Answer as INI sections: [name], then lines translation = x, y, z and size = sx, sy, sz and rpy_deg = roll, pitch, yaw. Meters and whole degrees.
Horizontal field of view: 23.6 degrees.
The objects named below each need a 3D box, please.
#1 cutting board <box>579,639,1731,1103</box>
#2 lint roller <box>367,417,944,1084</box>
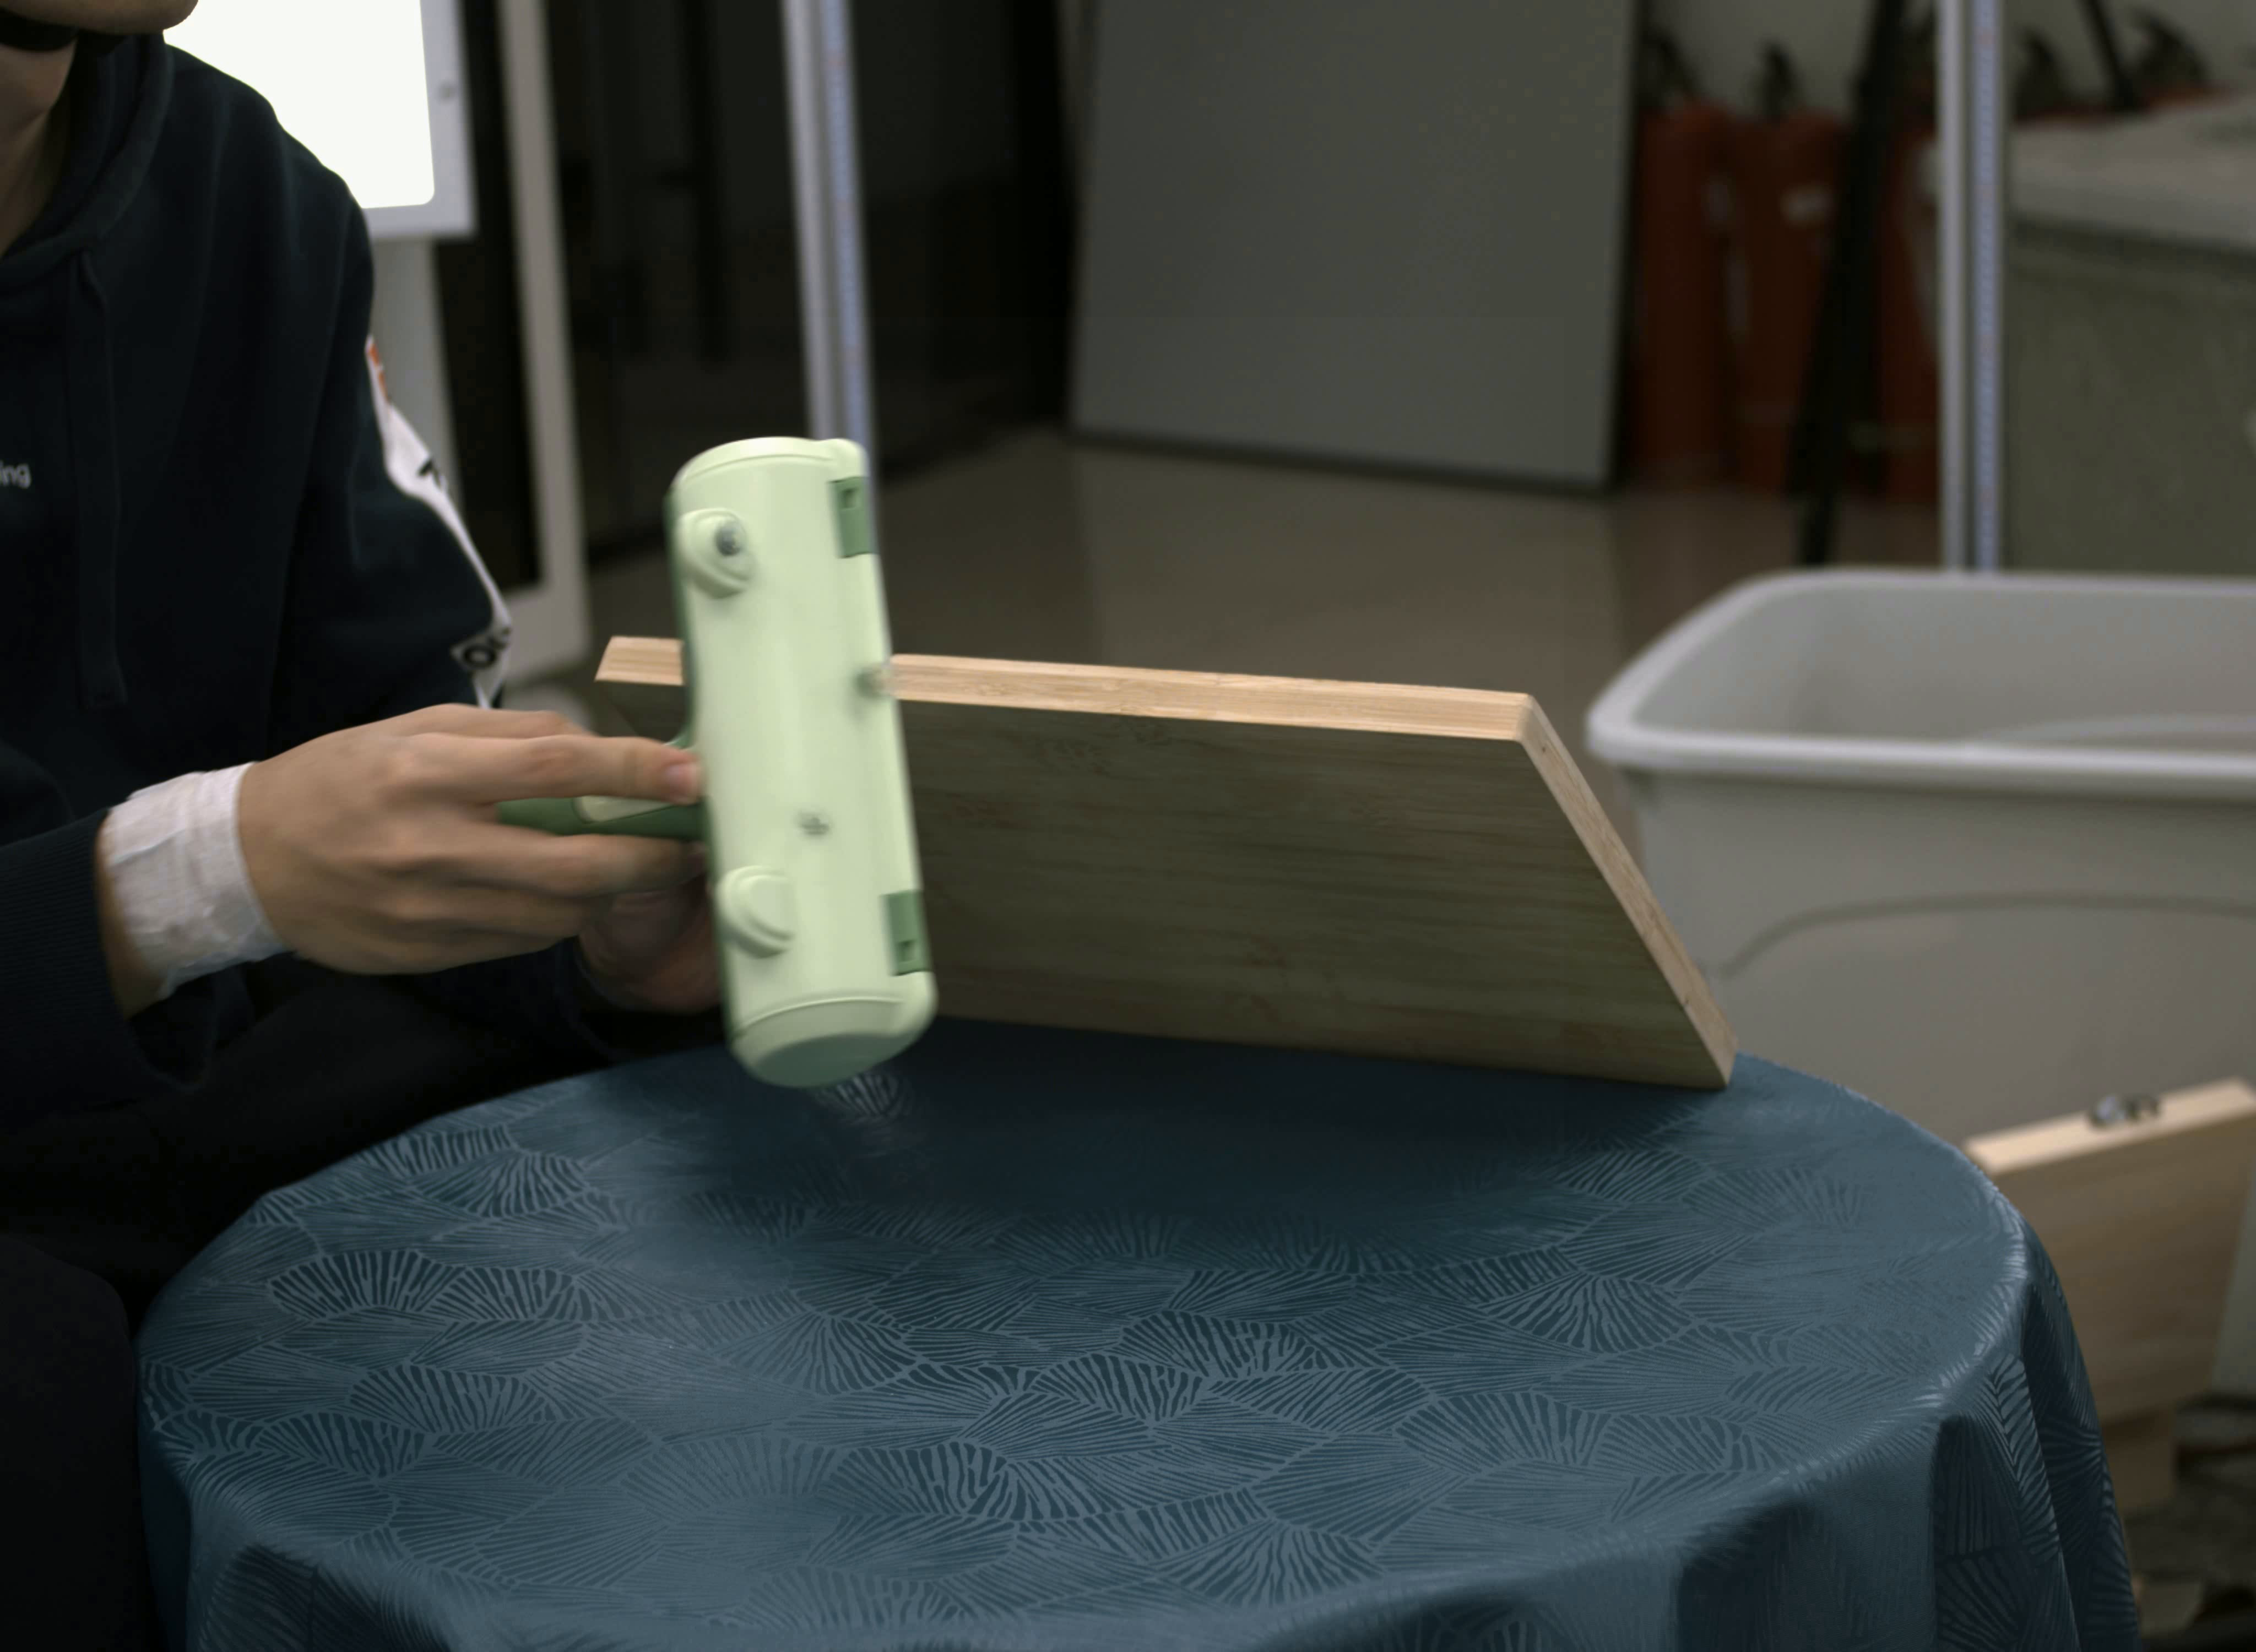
[cutting board]
translation = 0.011, 0.015, 1.828
size = 0.349, 0.024, 0.248
rpy_deg = 4, -29, 28
[lint roller]
translation = -0.152, -0.015, 1.623
size = 0.182, 0.201, 0.081
rpy_deg = -12, -21, 10
